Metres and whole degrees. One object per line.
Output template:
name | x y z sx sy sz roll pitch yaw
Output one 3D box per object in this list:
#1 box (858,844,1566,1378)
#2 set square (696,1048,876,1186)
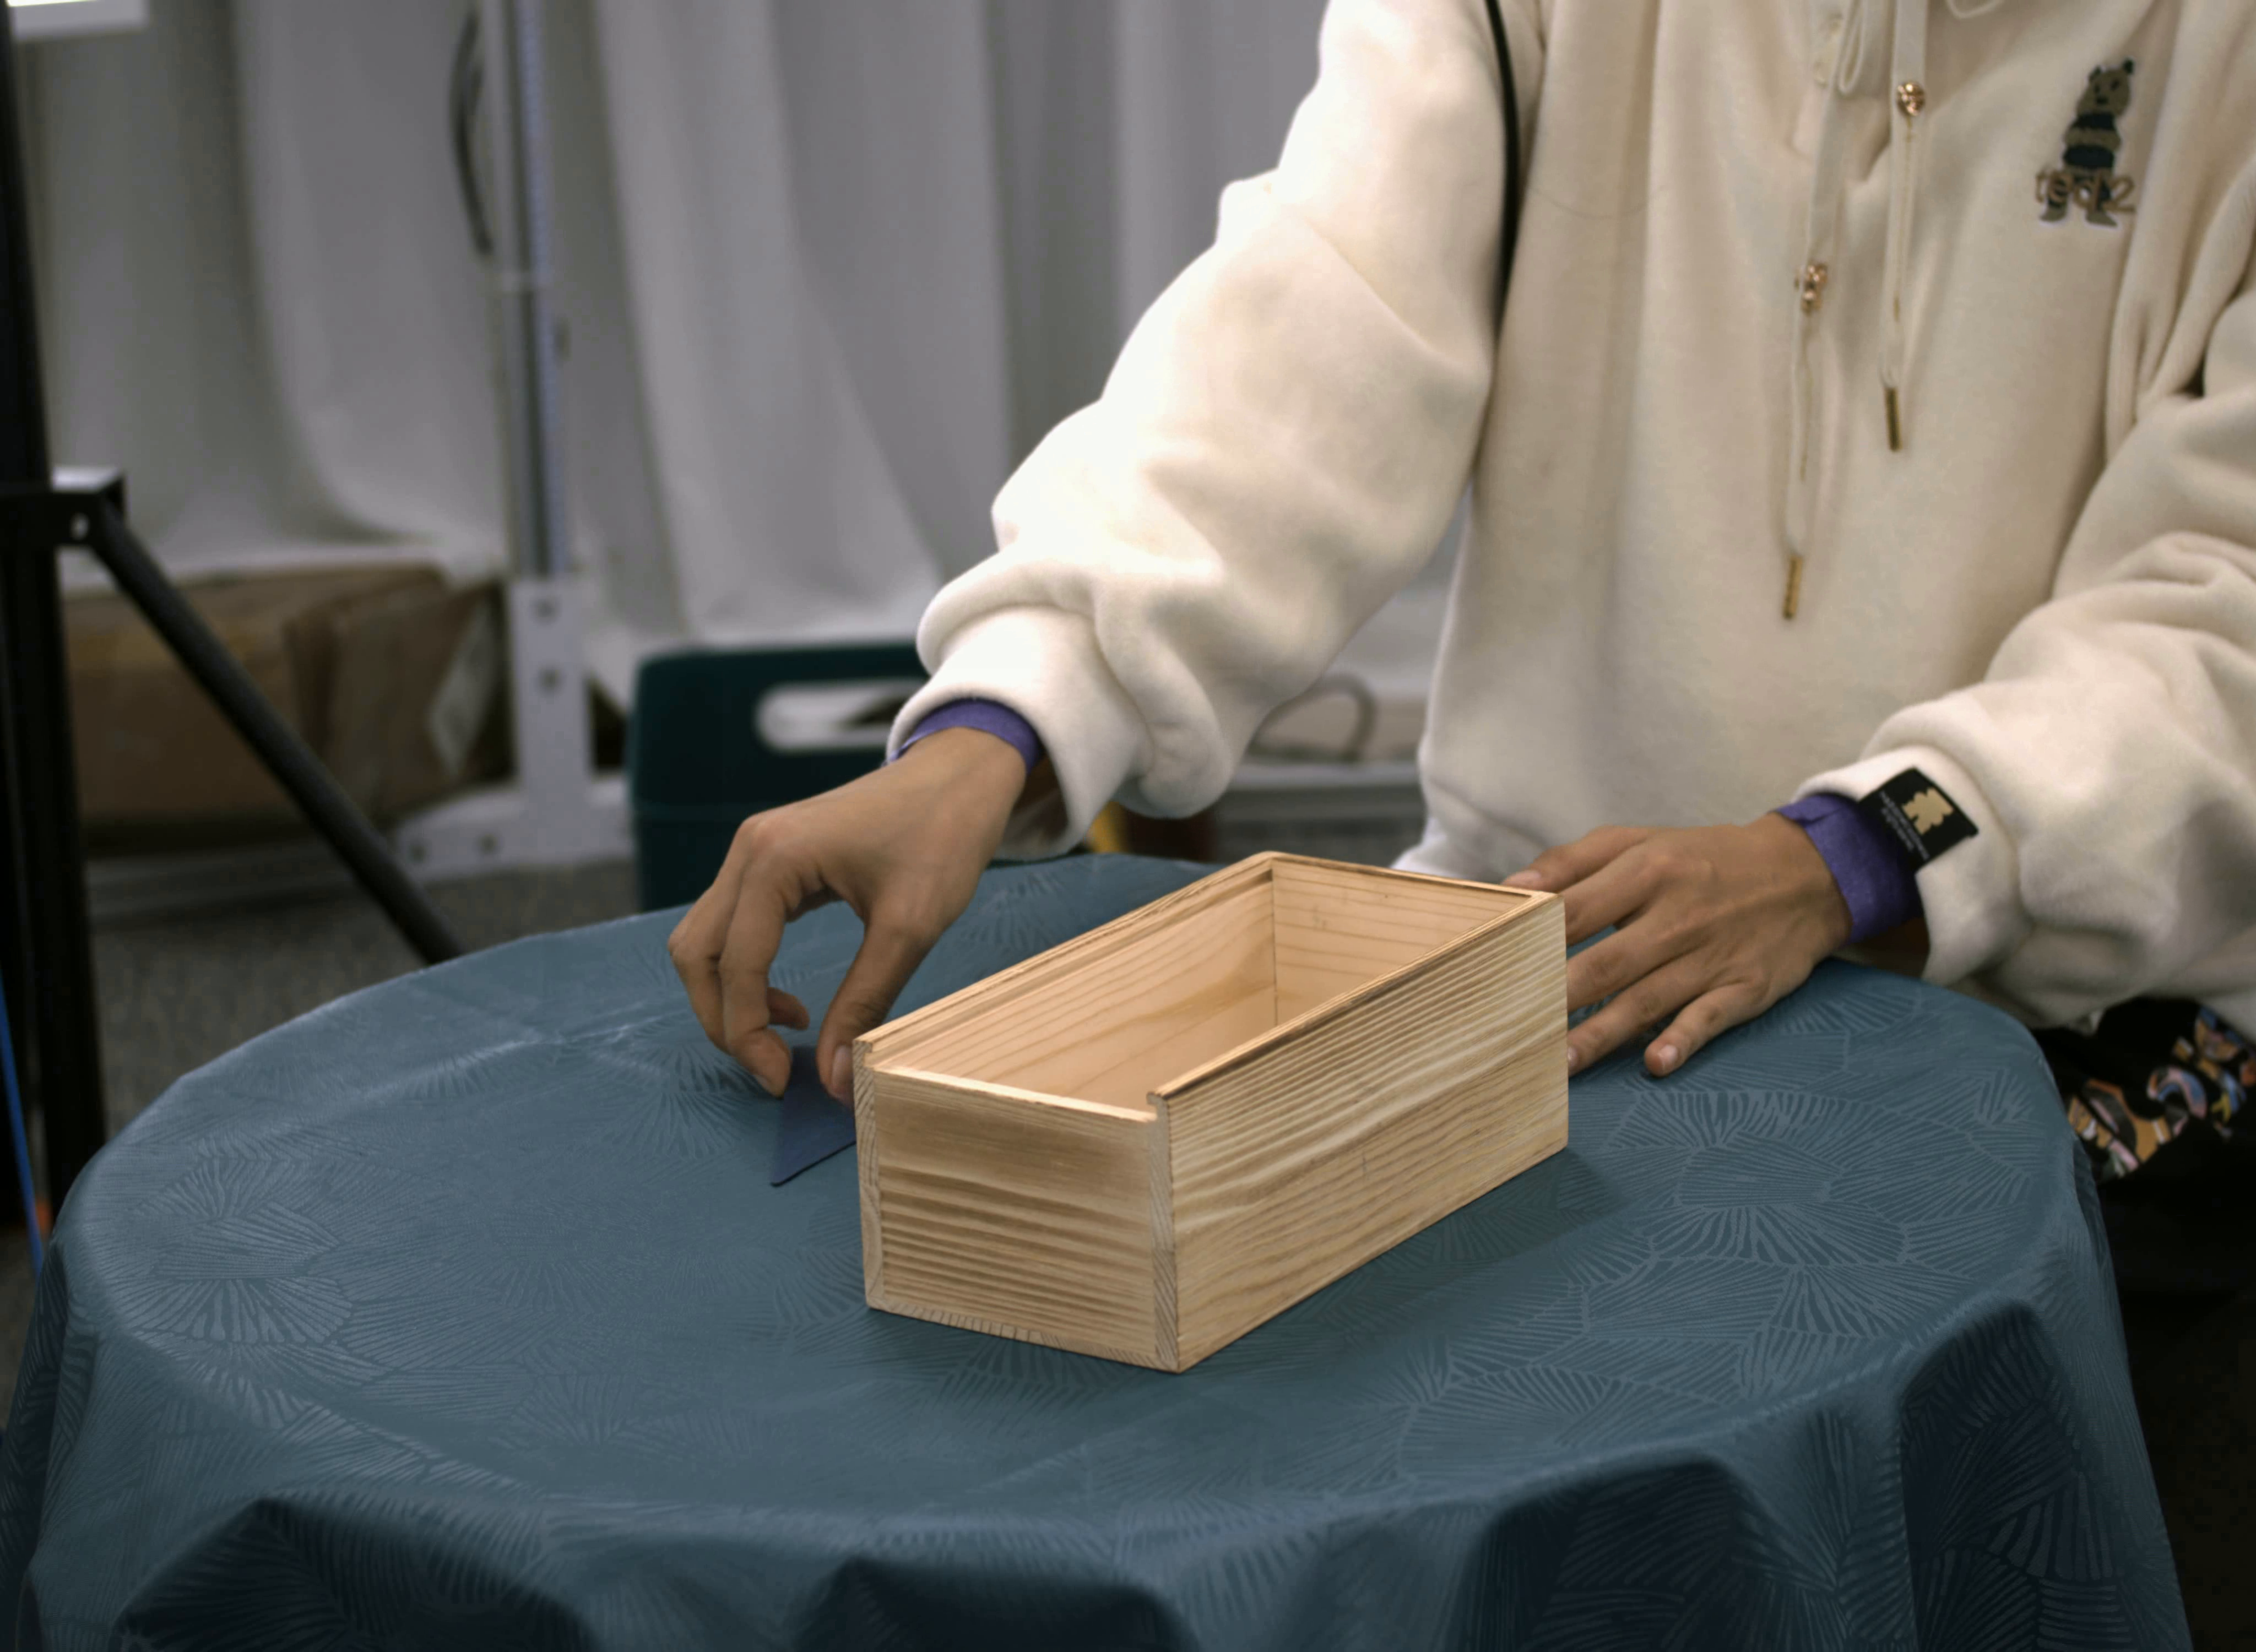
box | 0.028 0.077 1.517 0.109 0.080 0.207 9 20 33
set square | -0.106 0.085 1.643 0.062 0.006 0.129 14 22 33
